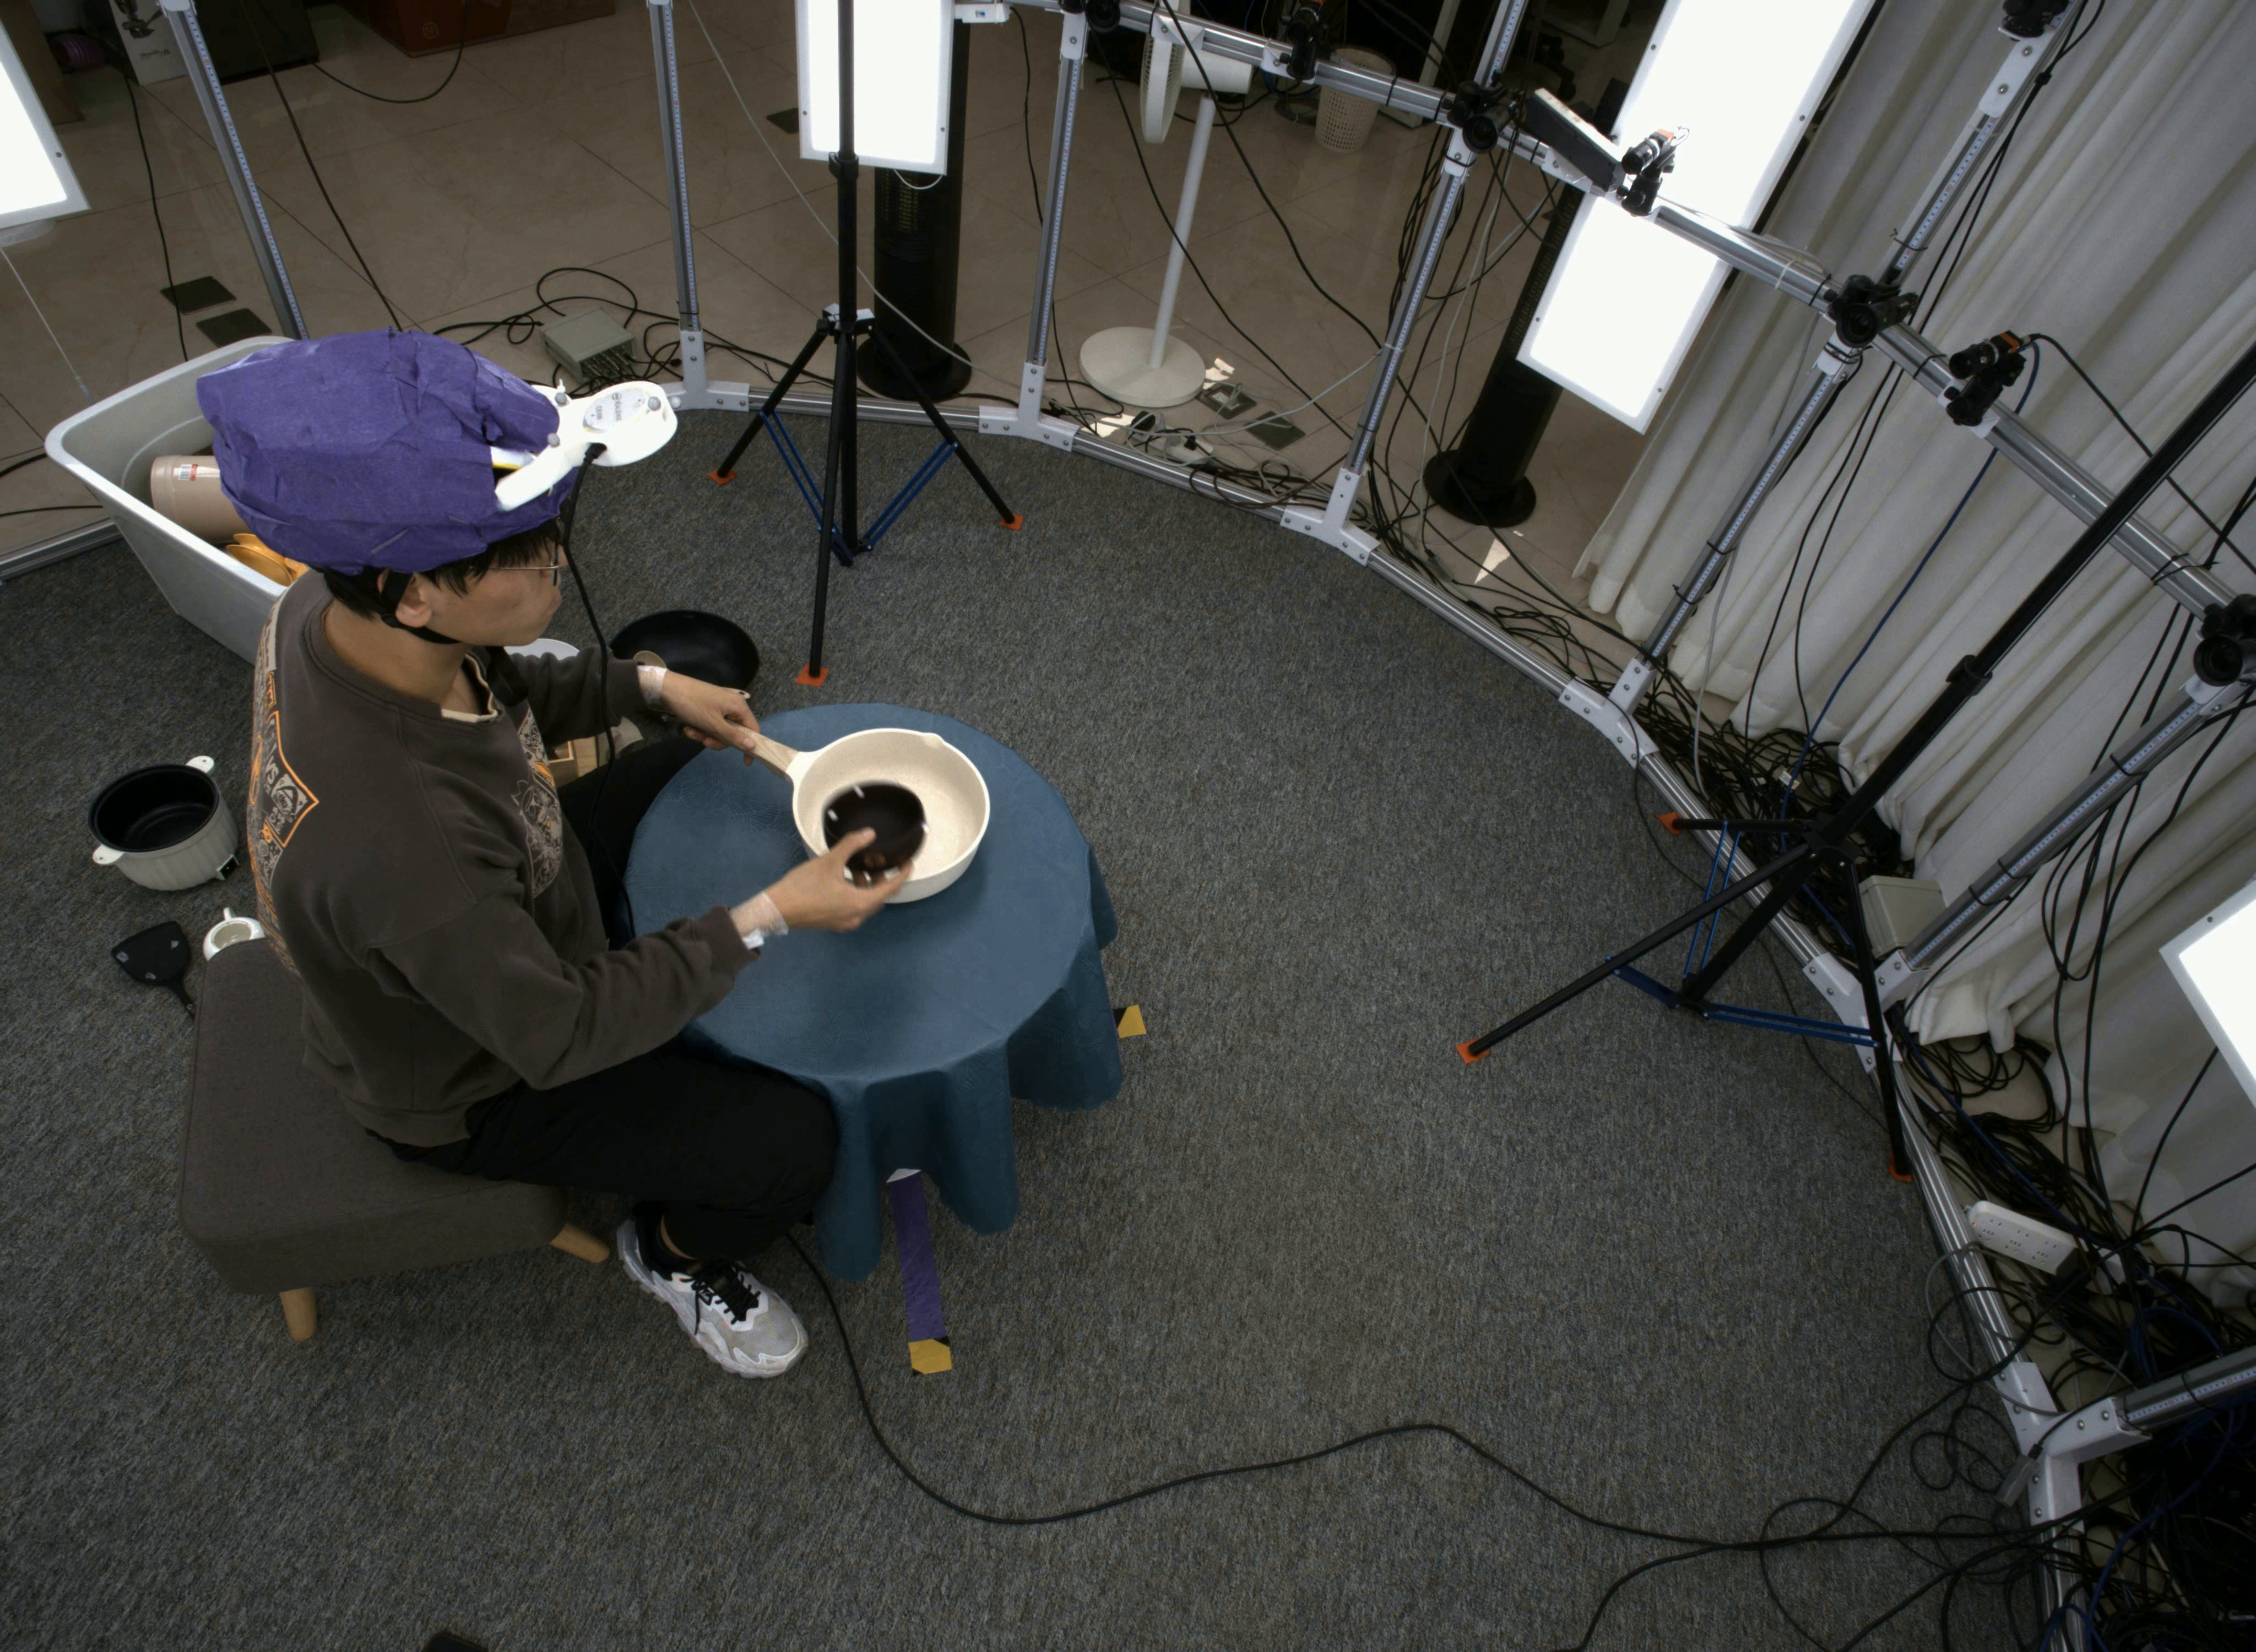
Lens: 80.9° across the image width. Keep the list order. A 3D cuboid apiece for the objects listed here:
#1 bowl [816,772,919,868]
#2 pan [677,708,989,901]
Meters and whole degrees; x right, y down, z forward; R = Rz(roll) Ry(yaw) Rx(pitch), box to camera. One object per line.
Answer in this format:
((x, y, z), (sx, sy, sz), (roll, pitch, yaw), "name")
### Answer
((-0.302, 0.001, 1.520), (0.117, 0.072, 0.116), (3, 47, -1), "bowl")
((-0.394, -0.048, 1.718), (0.430, 0.104, 0.261), (21, 54, 3), "pan")
